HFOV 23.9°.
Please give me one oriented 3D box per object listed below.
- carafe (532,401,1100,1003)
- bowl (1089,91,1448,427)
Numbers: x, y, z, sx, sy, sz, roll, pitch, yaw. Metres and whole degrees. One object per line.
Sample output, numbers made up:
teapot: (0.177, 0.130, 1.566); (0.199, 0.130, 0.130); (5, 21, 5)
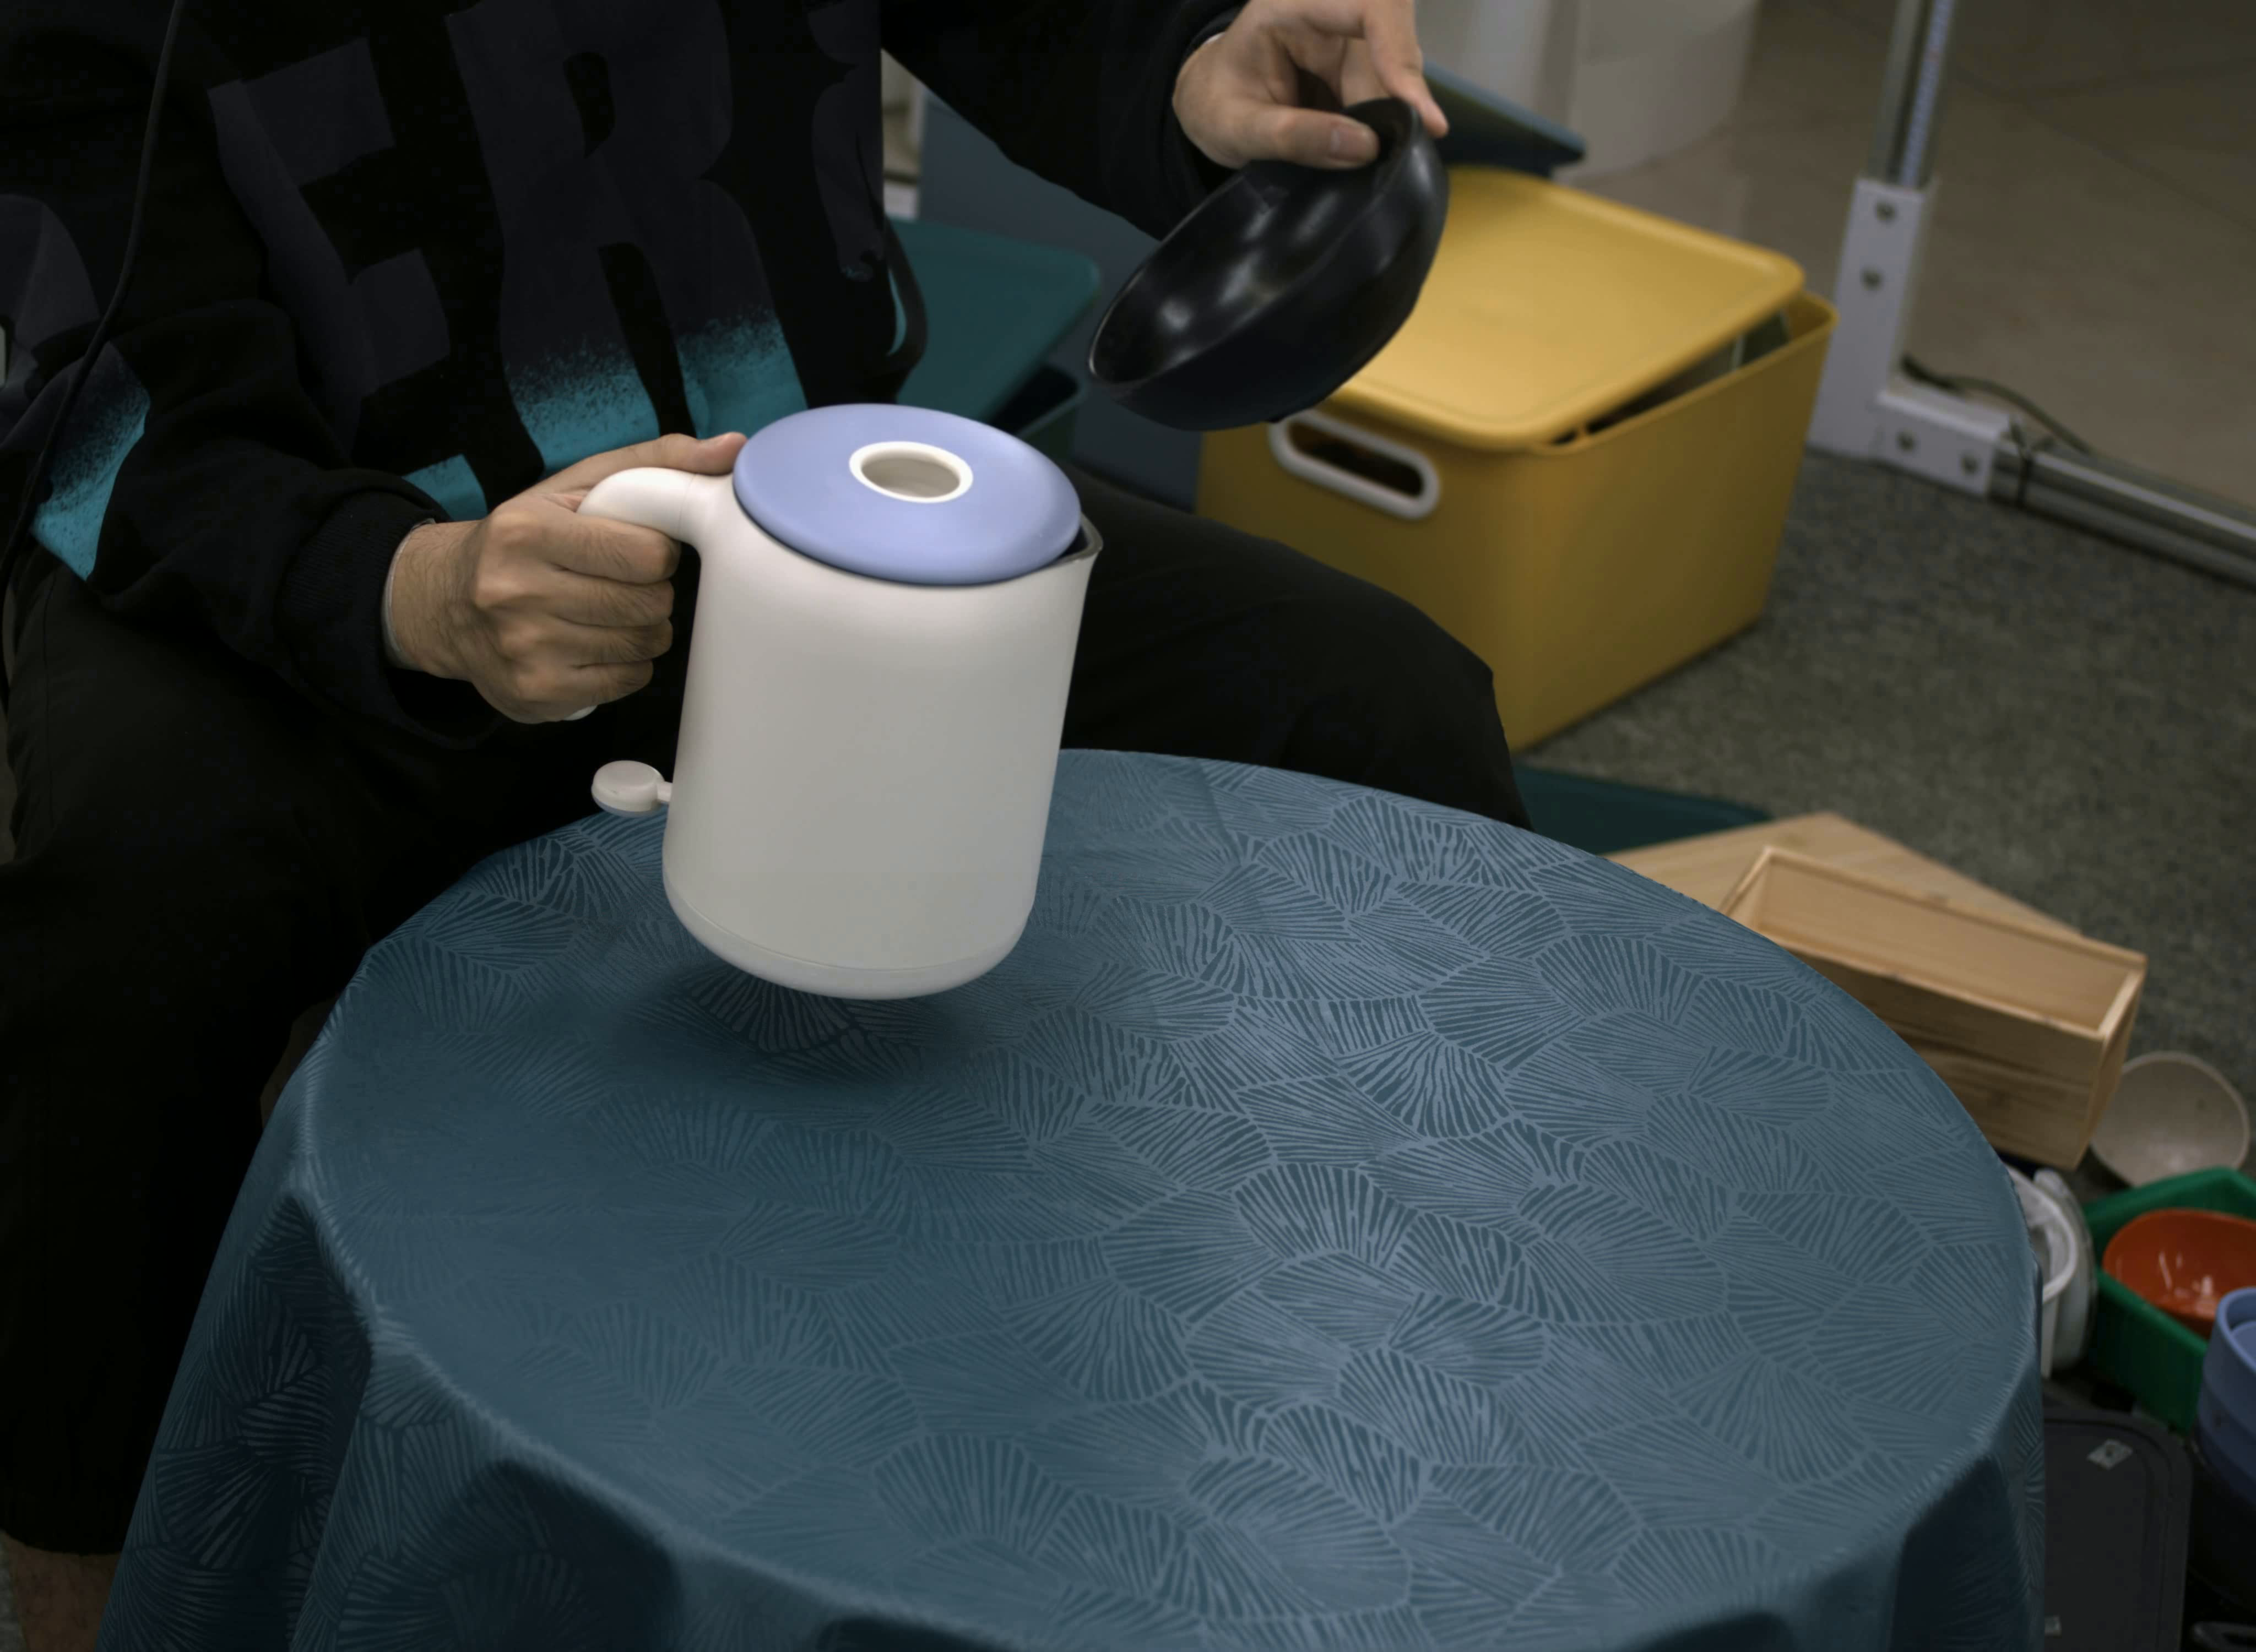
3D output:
carafe: (-0.111, -0.048, 1.829); (0.191, 0.182, 0.133); (11, 29, 7)
bowl: (0.055, -0.176, 1.743); (0.049, 0.140, 0.141); (48, 20, -18)
